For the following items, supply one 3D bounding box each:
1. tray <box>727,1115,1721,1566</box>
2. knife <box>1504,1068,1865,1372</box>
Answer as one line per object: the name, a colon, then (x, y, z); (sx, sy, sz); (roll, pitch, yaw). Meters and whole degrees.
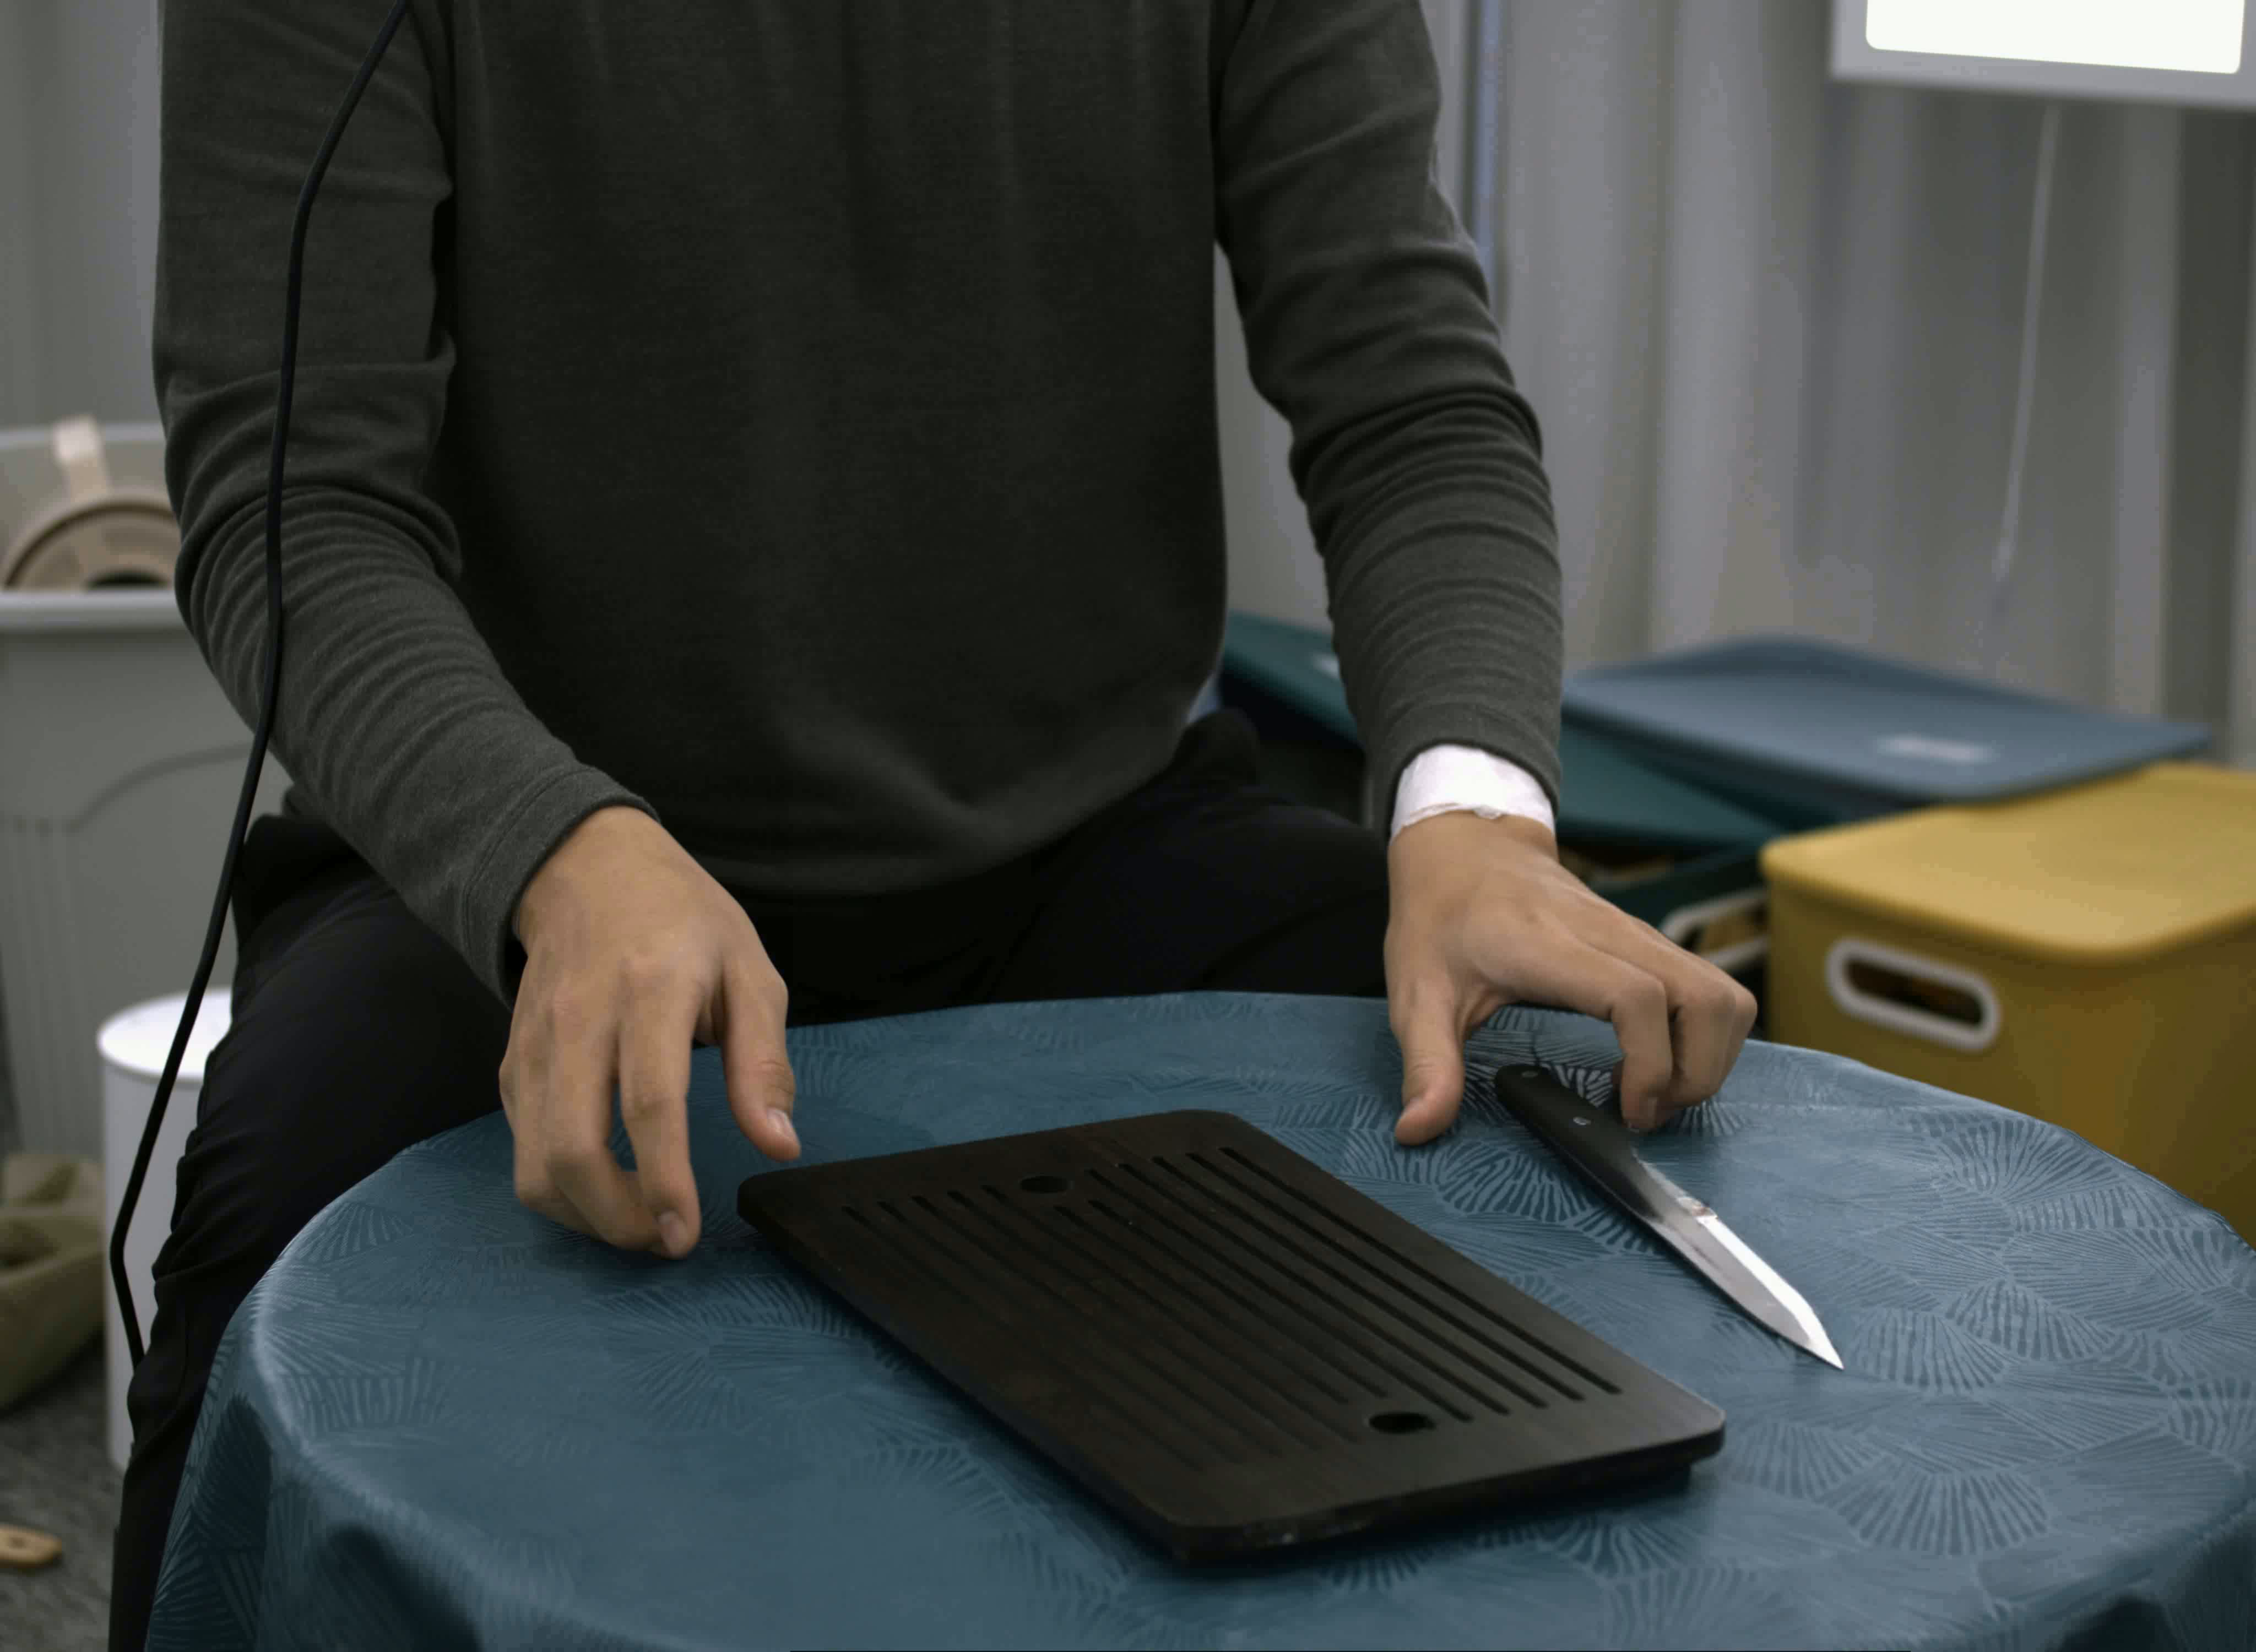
tray: (0.019, 0.141, 1.489); (0.171, 0.019, 0.302); (-7, 17, -26)
knife: (0.164, 0.118, 1.589); (0.024, 0.016, 0.235); (-4, 19, -19)
